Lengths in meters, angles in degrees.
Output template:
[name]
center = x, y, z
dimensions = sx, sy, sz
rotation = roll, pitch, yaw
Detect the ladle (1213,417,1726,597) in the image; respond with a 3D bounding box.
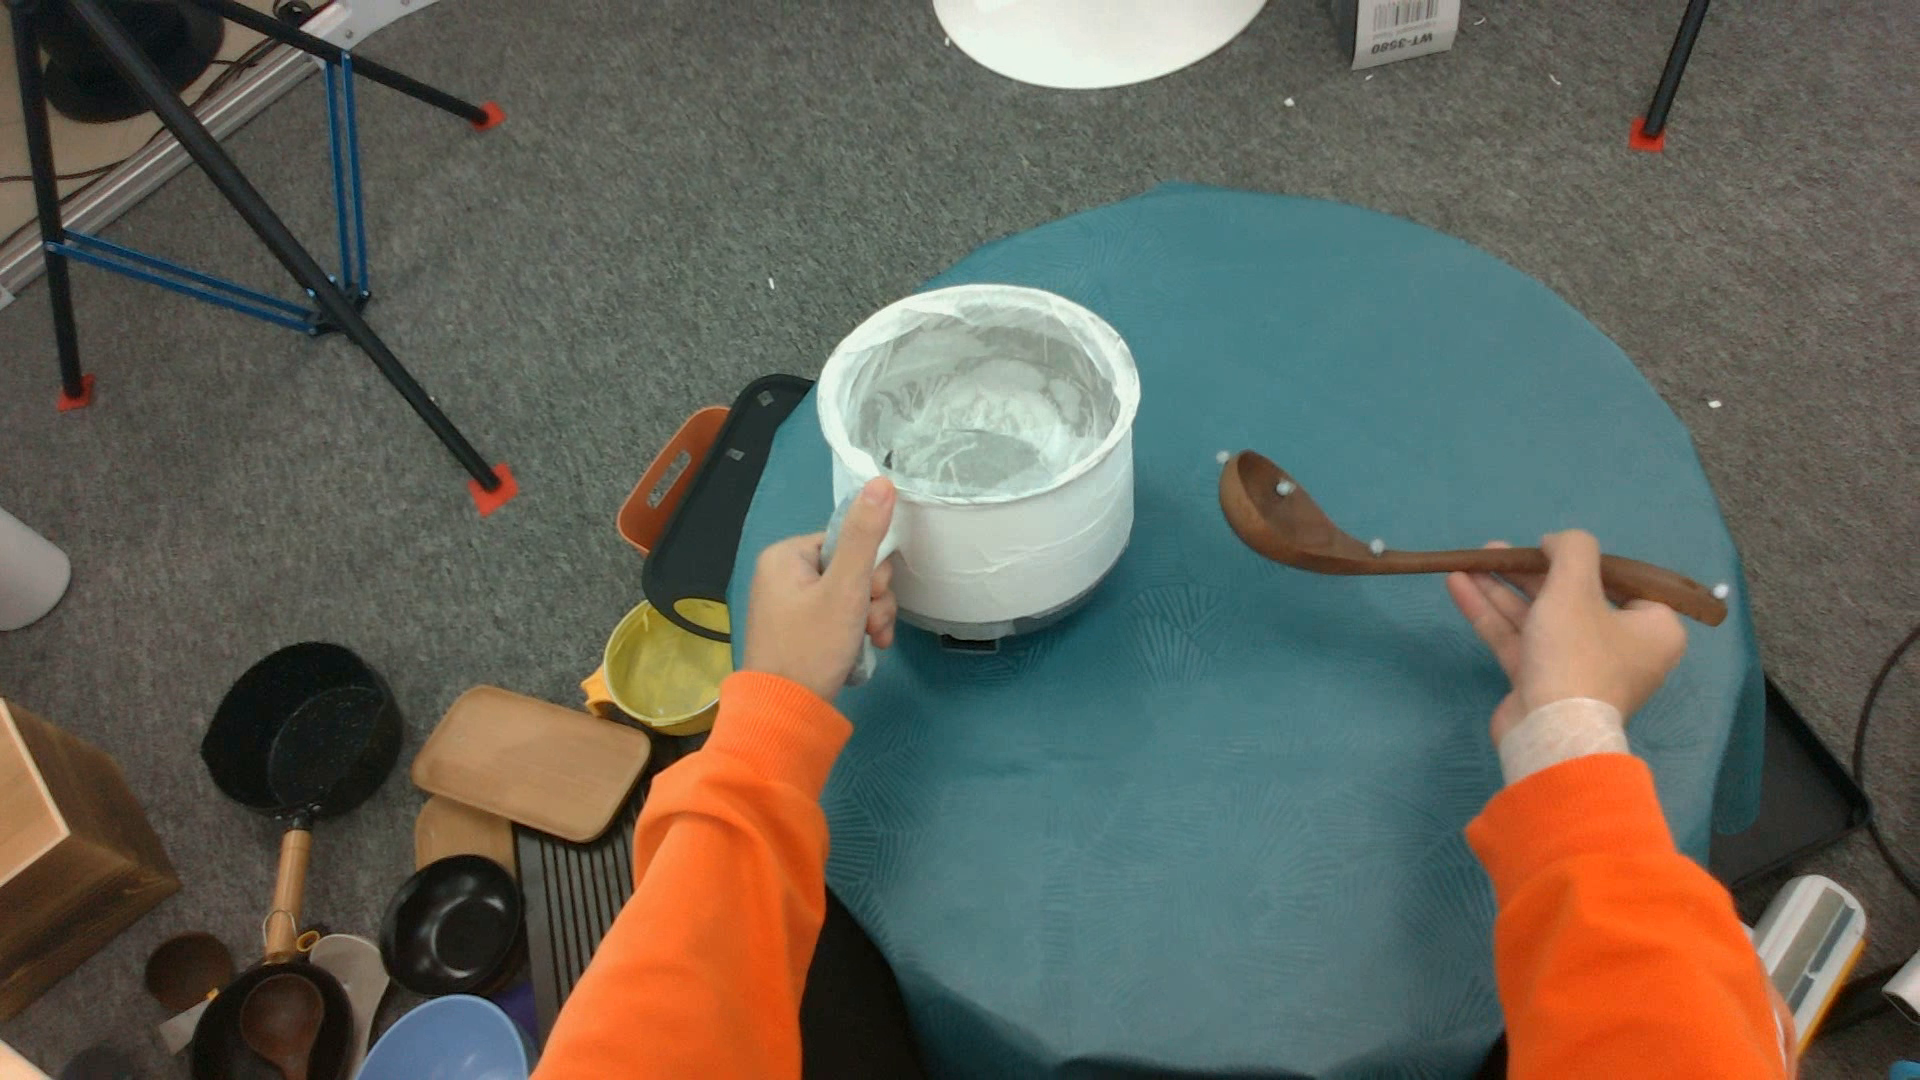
[ladle]
center = 0.262, -0.018, 0.721
dimensions = 0.260, 0.065, 0.077
rotation = 8, 34, 18

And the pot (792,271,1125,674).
[pot]
center = -0.011, -0.032, 0.777
dimensions = 0.178, 0.136, 0.235
rotation = 25, 53, 26
